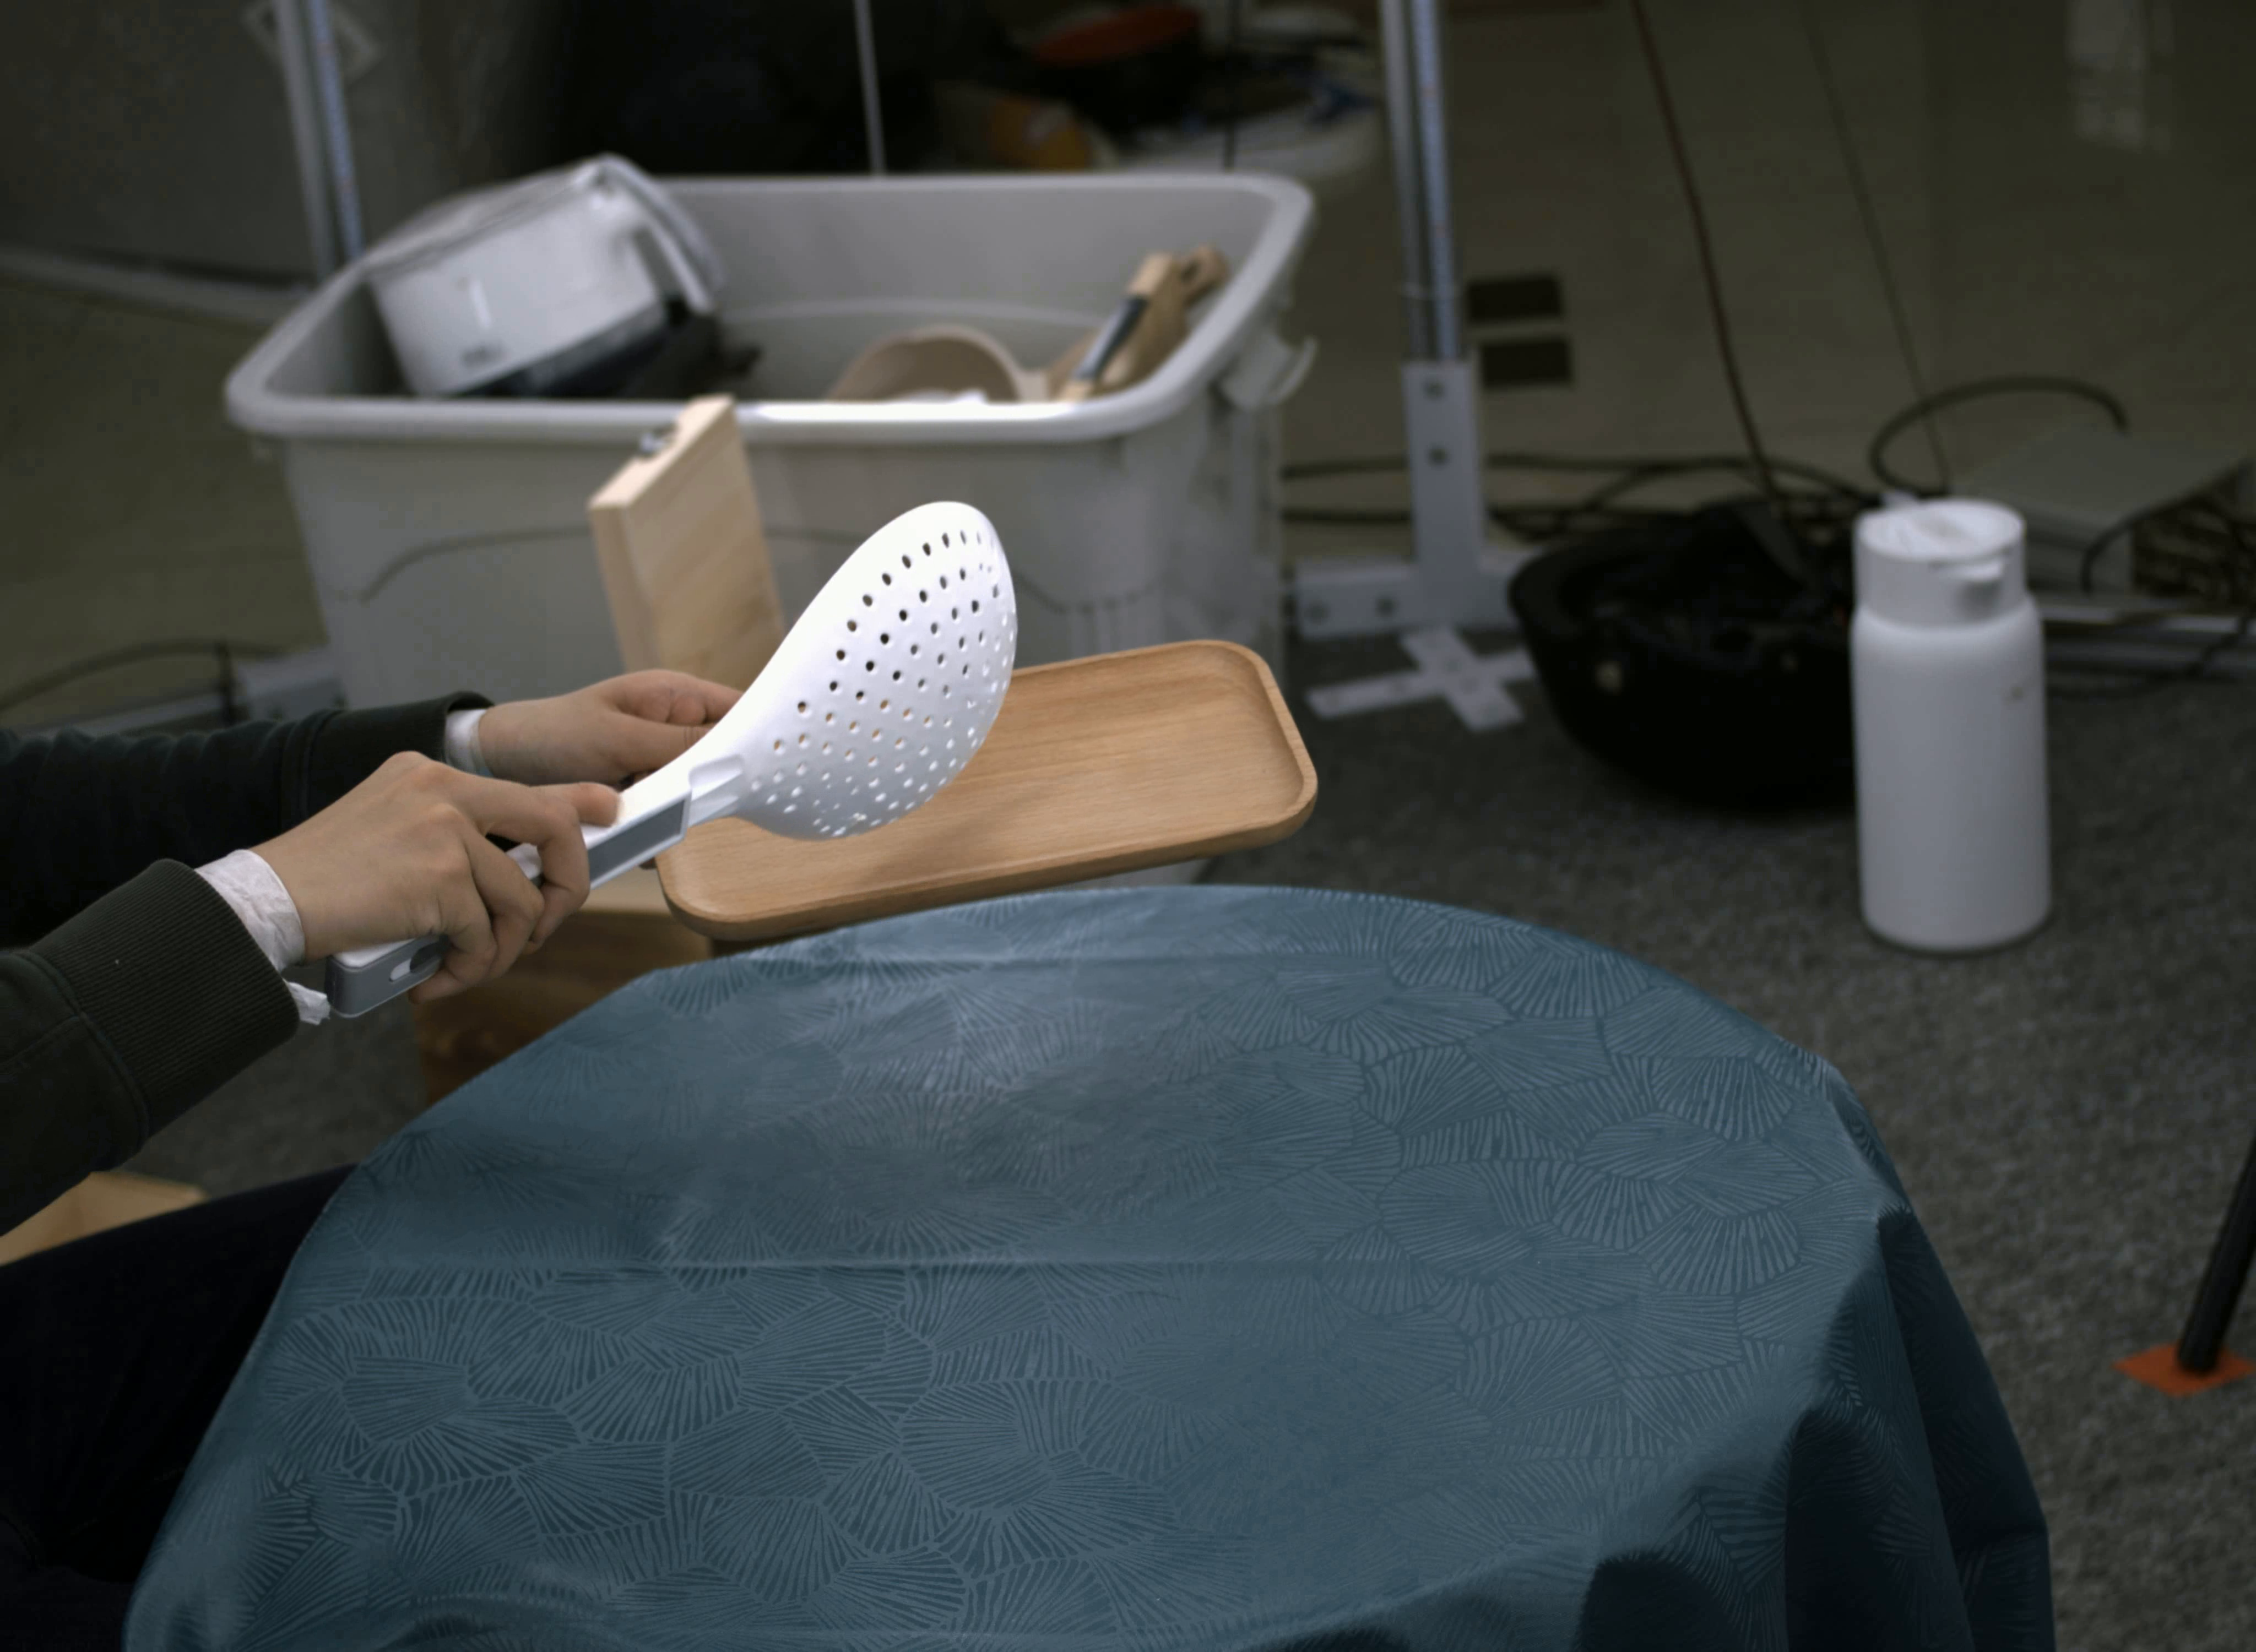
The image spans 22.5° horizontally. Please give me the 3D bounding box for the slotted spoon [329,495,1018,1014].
[{"bbox_3d":[-0.150,-0.015,1.977,0.045,0.138,0.347,32,41,32],"label":"slotted spoon"}]

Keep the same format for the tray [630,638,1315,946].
[{"bbox_3d":[-0.059,-0.013,2.147,0.250,0.023,0.128,-11,37,-7],"label":"tray"}]
